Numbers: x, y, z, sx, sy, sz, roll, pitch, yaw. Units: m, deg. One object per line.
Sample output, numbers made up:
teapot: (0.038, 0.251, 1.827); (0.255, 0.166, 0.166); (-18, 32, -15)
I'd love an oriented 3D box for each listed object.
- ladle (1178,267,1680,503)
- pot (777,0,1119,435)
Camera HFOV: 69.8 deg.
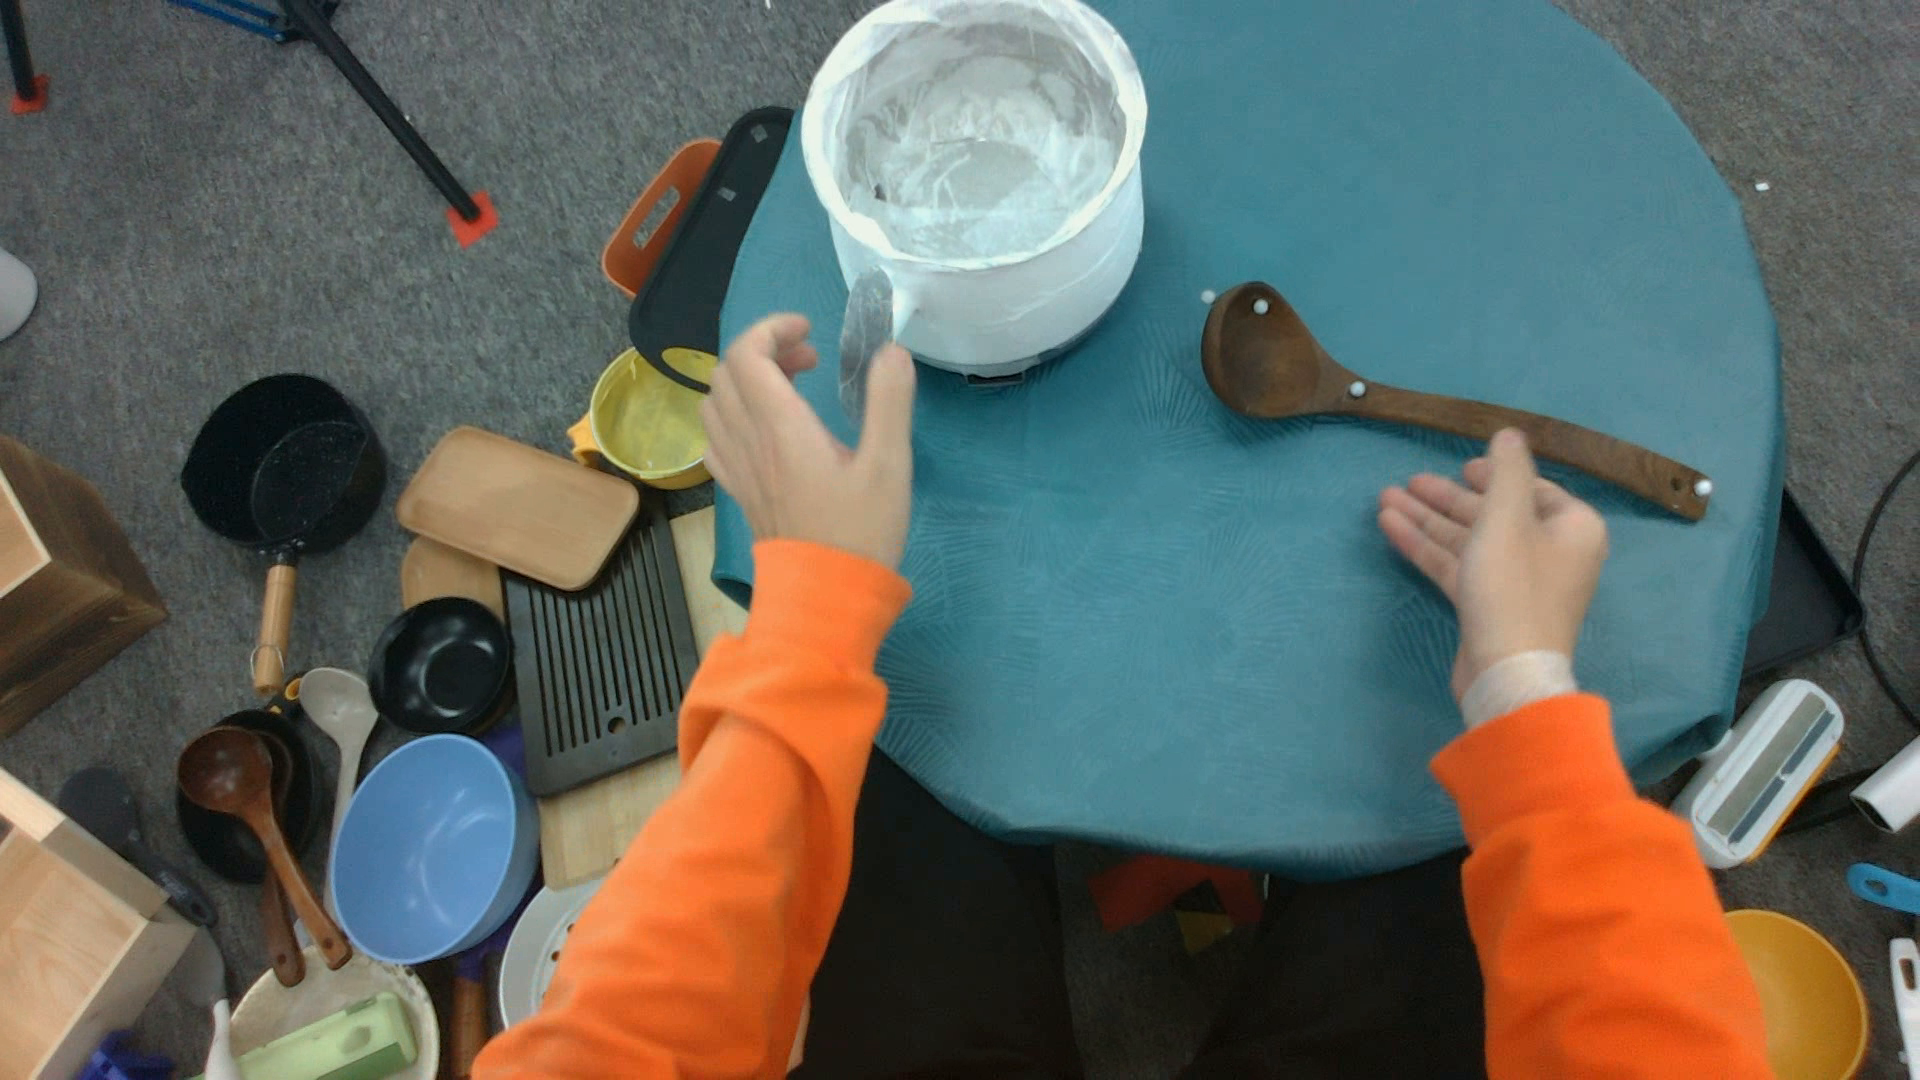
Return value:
ladle: (0.250, -0.079, 0.731); (0.274, 0.071, 0.076); (17, 76, 12)
pot: (-0.013, -0.174, 0.756); (0.178, 0.136, 0.234); (23, 73, 14)
